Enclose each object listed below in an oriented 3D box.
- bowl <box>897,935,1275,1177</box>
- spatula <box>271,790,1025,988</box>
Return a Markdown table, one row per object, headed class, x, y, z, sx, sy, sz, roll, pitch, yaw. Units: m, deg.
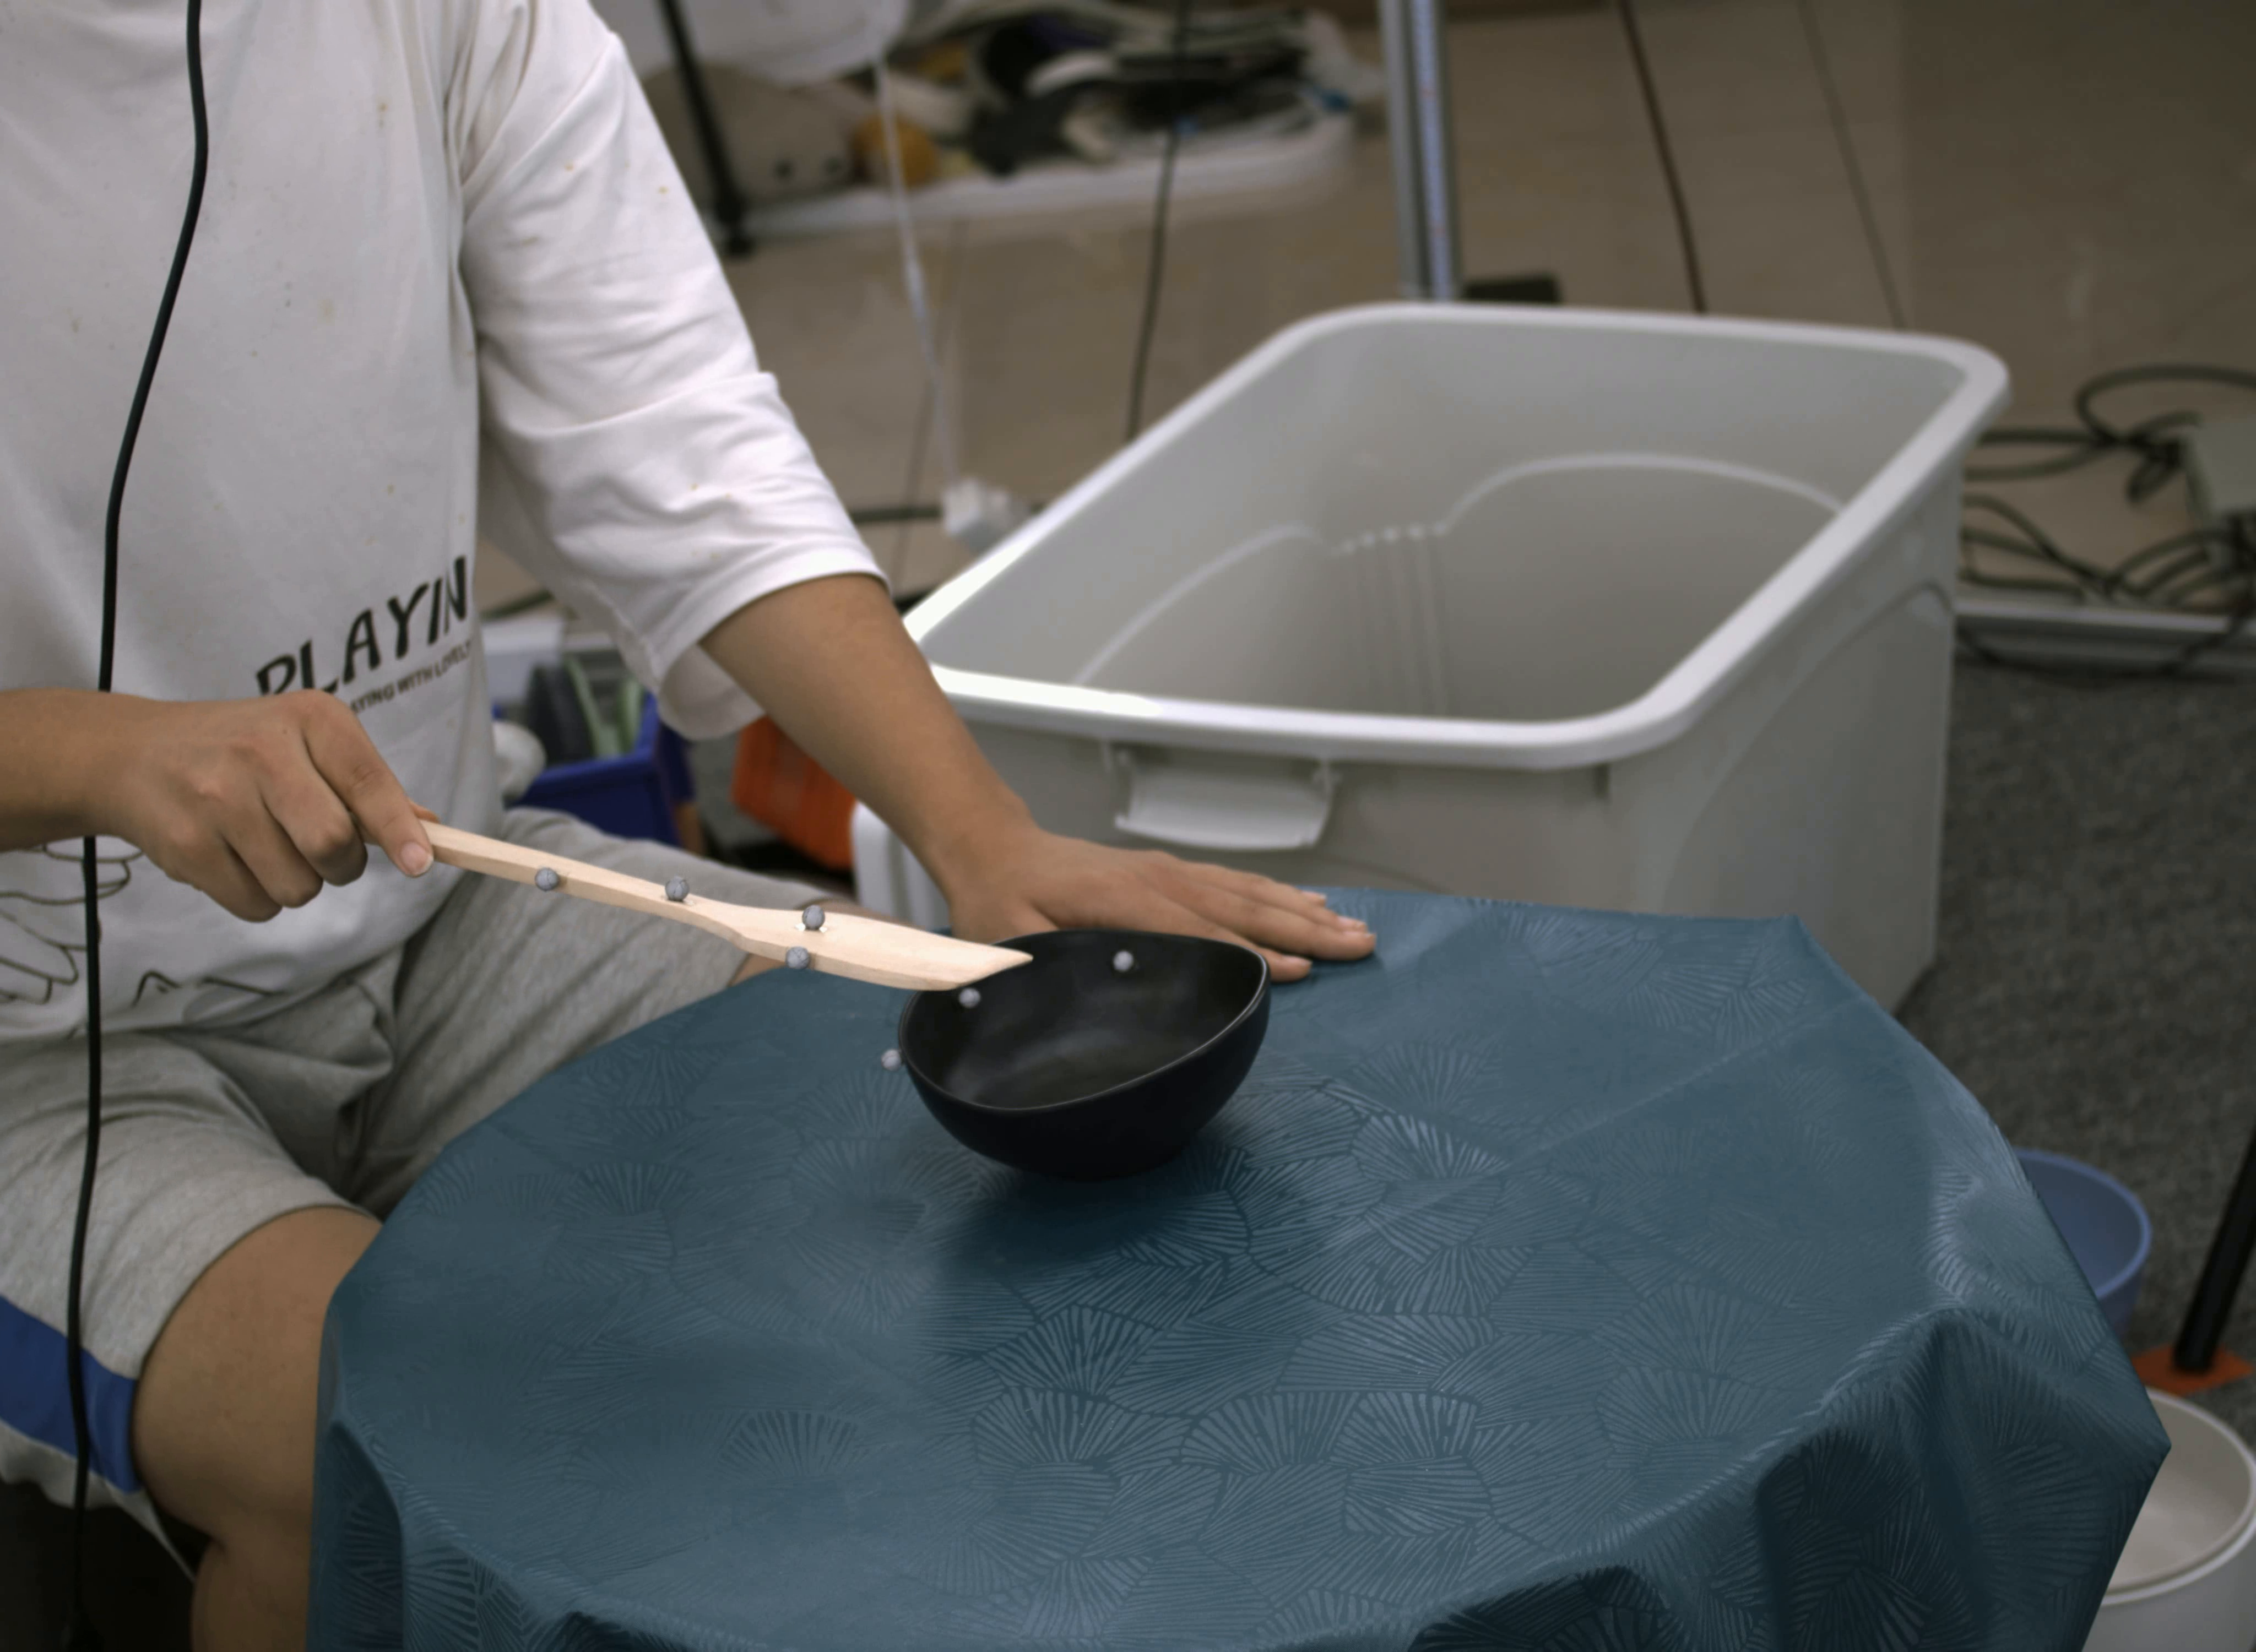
| class | x | y | z | sx | sy | sz | roll | pitch | yaw |
| --- | --- | --- | --- | --- | --- | --- | --- | --- | --- |
| bowl | -0.013 | 0.092 | 2.174 | 0.137 | 0.068 | 0.168 | 6 | 26 | 26 |
| spatula | -0.181 | 0.022 | 2.040 | 0.291 | 0.011 | 0.072 | 13 | 14 | 20 |
